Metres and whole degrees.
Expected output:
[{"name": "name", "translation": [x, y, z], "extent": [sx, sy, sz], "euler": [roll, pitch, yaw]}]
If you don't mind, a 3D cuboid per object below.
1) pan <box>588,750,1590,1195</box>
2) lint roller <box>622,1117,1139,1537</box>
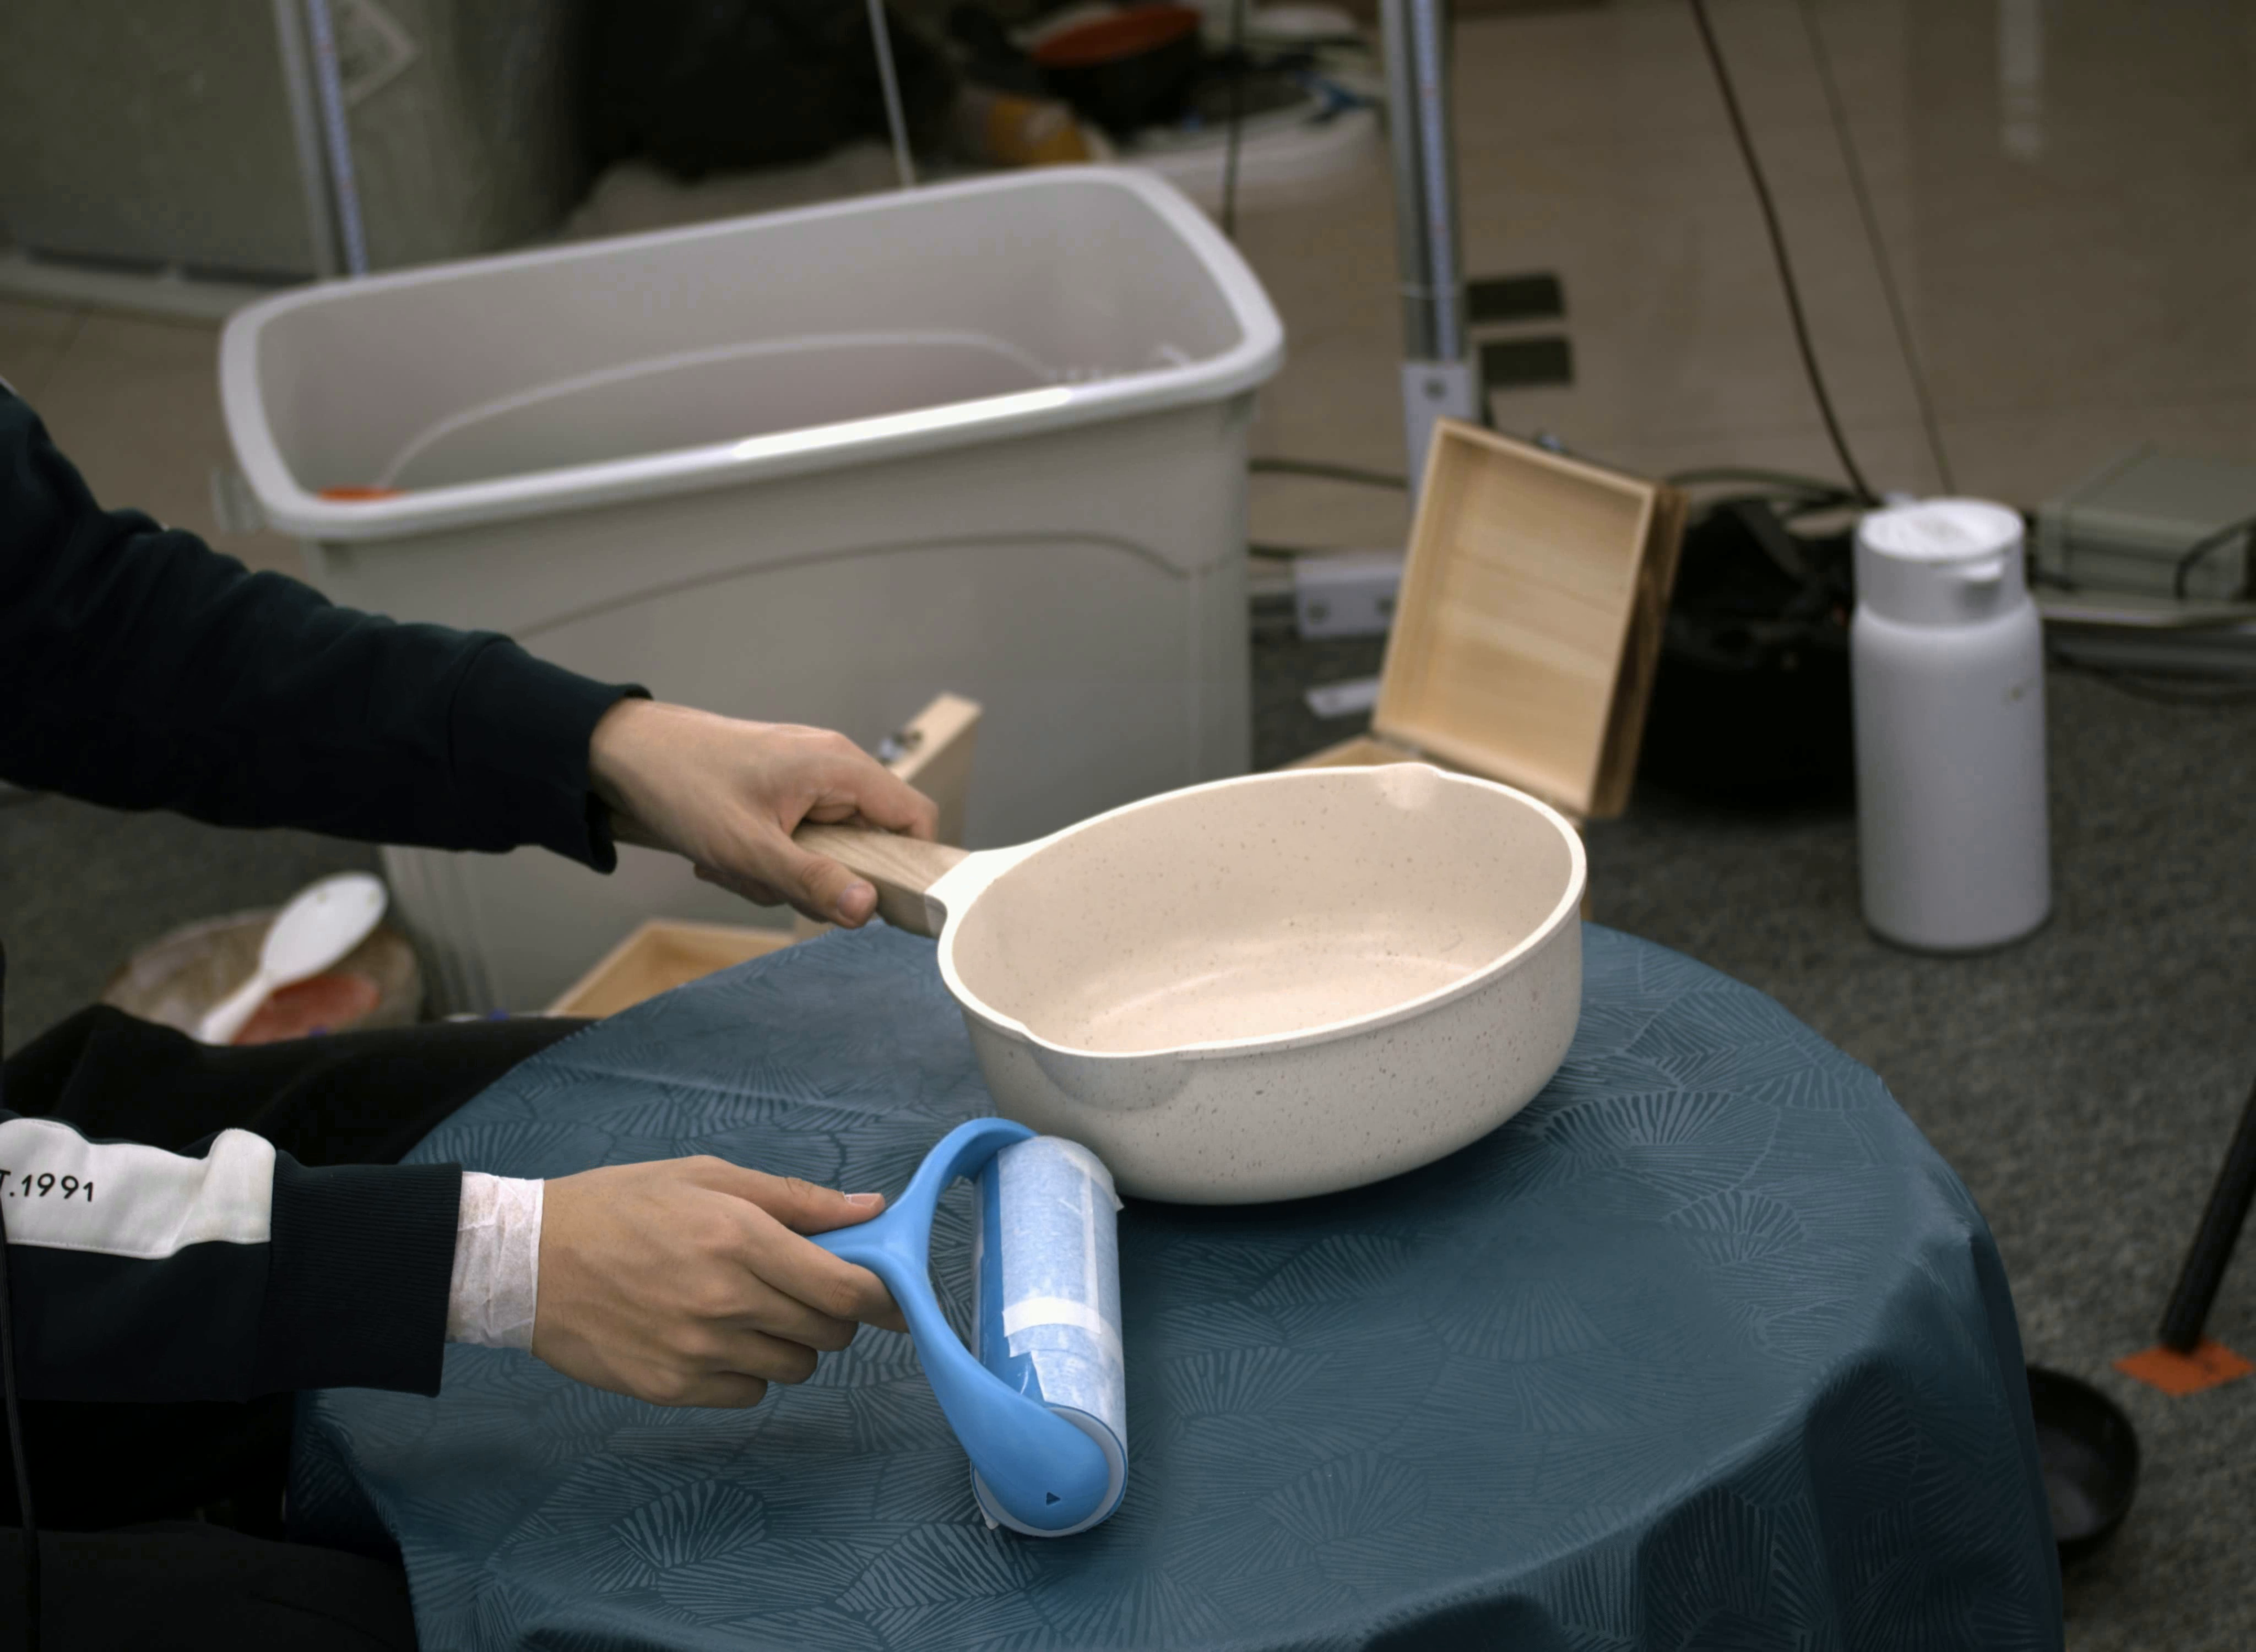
[{"name": "pan", "translation": [-0.021, 0.049, 2.222], "extent": [0.433, 0.103, 0.260], "euler": [4, 28, 31]}, {"name": "lint roller", "translation": [-0.086, 0.172, 1.998], "extent": [0.180, 0.069, 0.225], "euler": [4, 27, -7]}]
